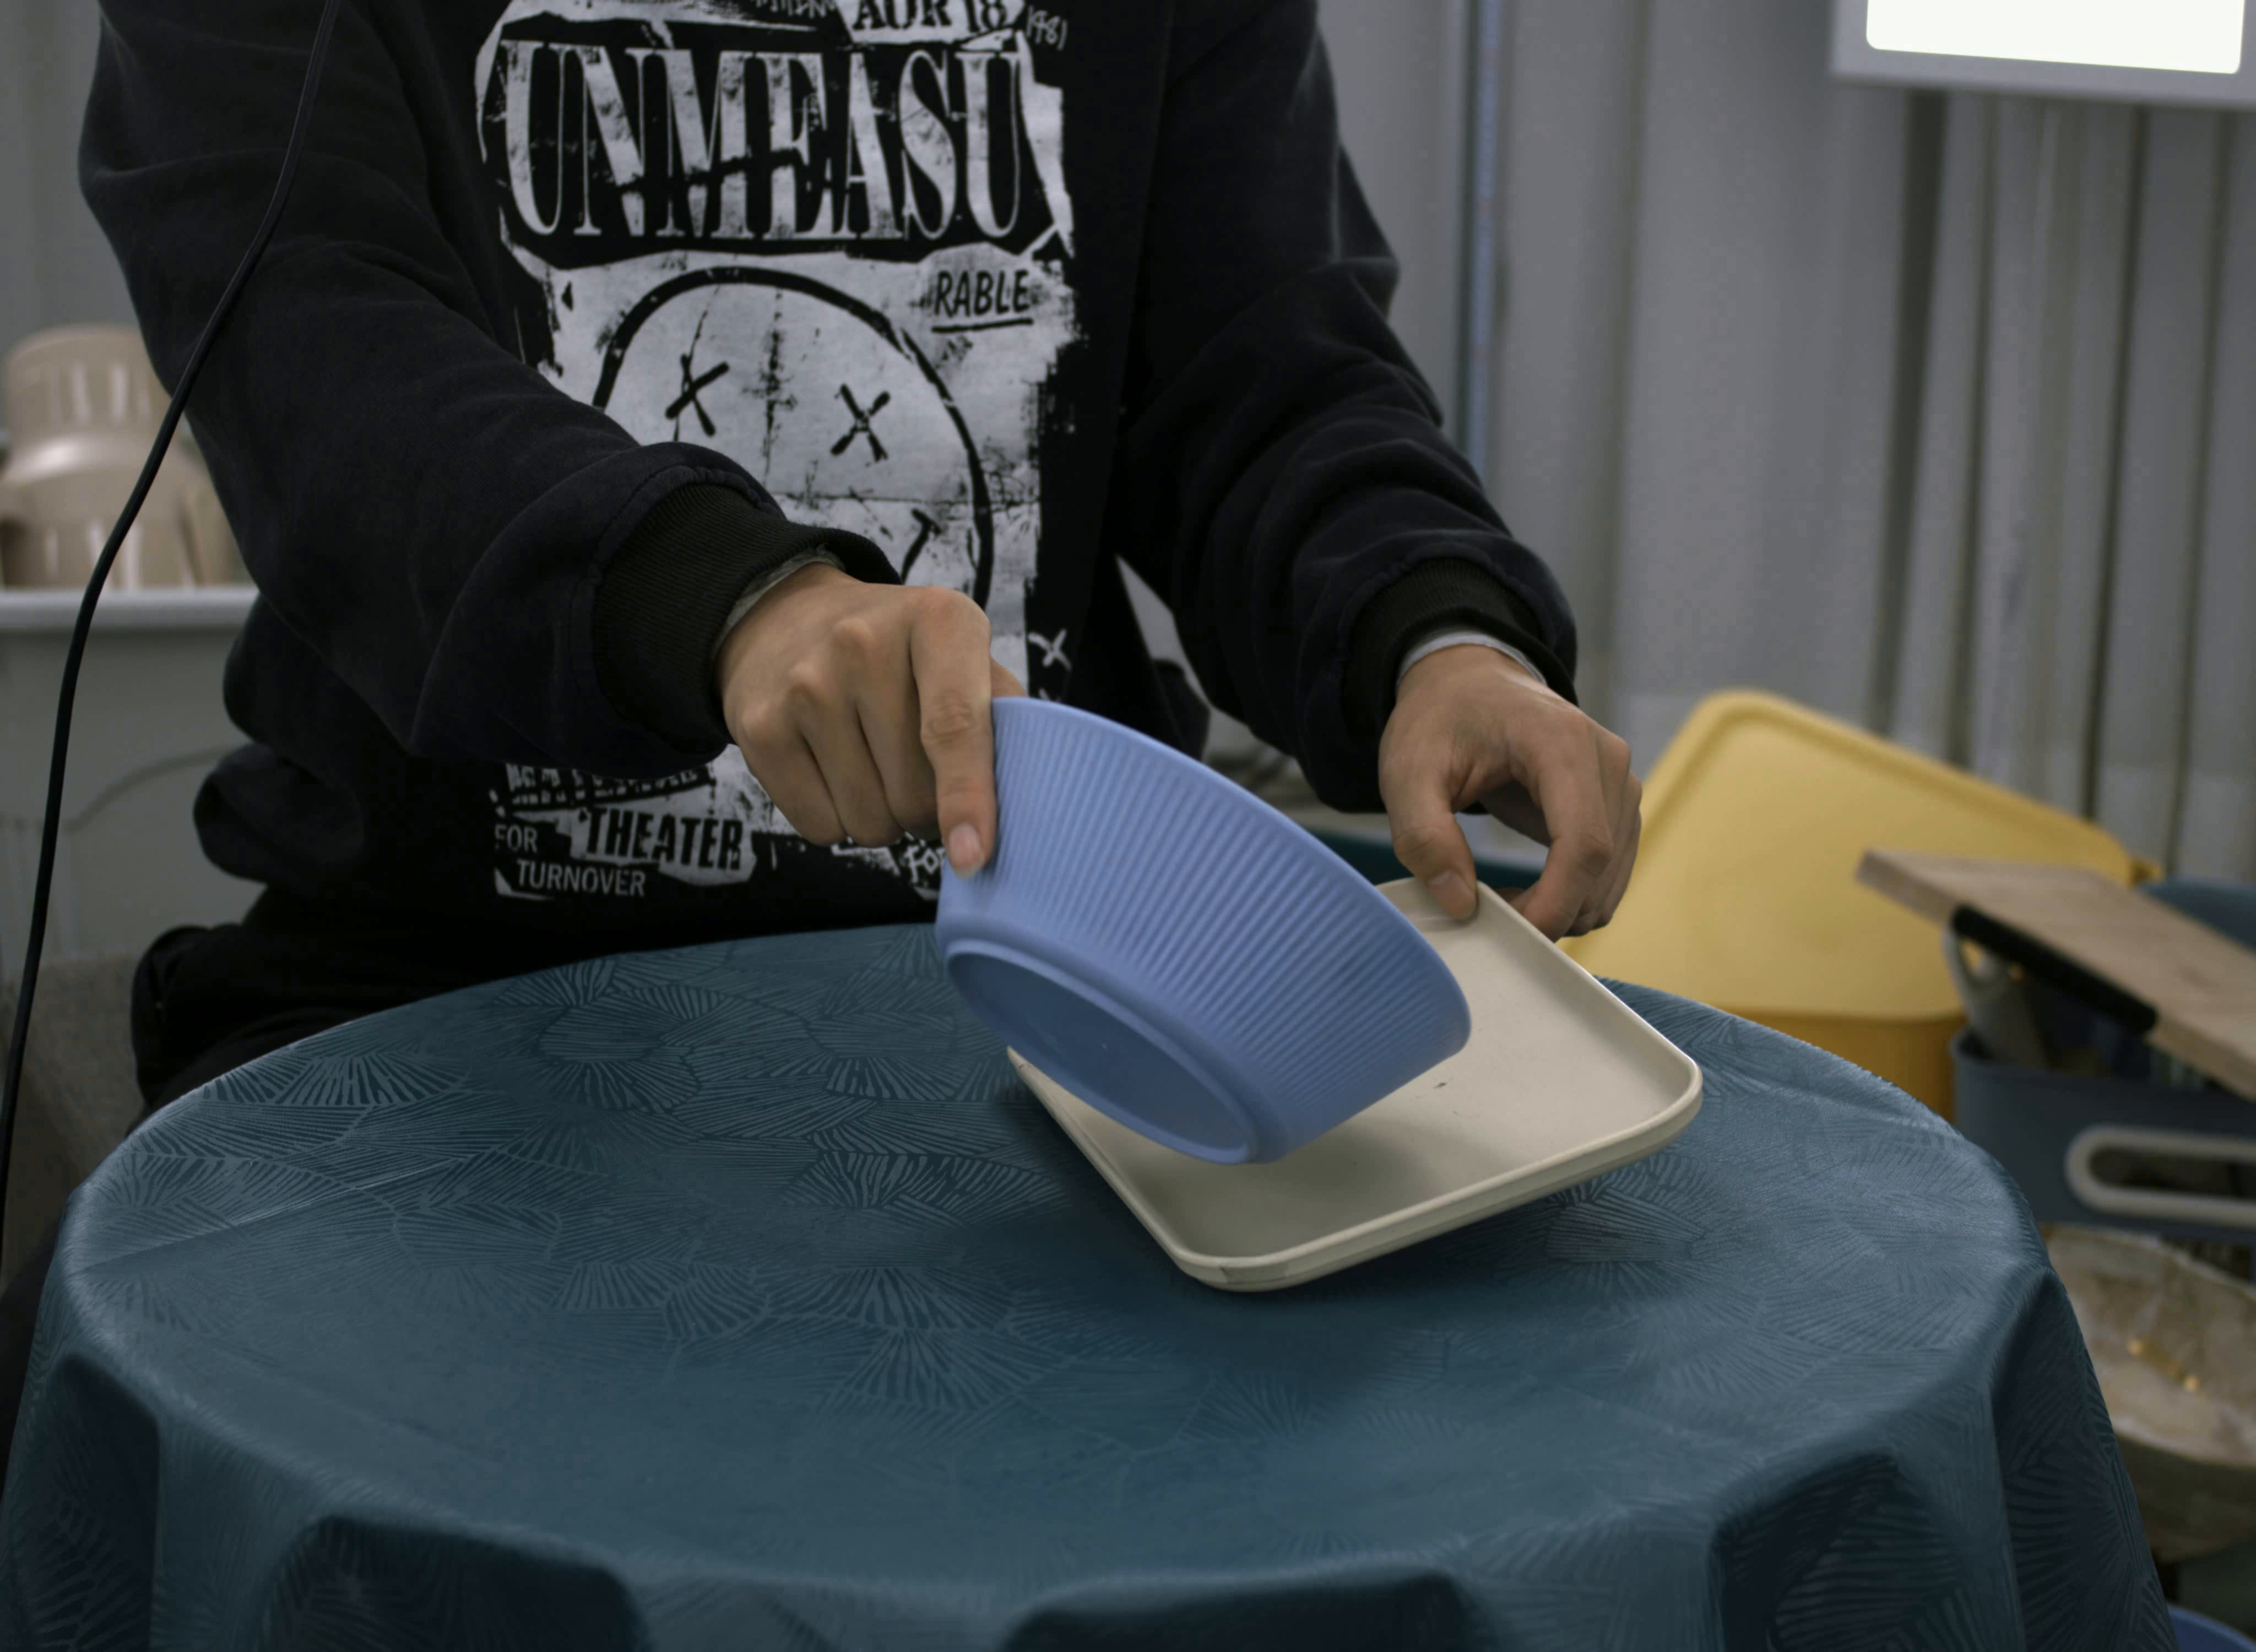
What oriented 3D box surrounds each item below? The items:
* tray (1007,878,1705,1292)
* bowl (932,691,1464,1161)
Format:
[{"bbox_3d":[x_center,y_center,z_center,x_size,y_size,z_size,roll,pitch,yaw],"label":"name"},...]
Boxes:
[{"bbox_3d":[0.068,0.079,1.644,0.171,0.017,0.237,-18,21,-12],"label":"tray"},{"bbox_3d":[0.008,0.039,1.549,0.173,0.178,0.070,17,66,43],"label":"bowl"}]
